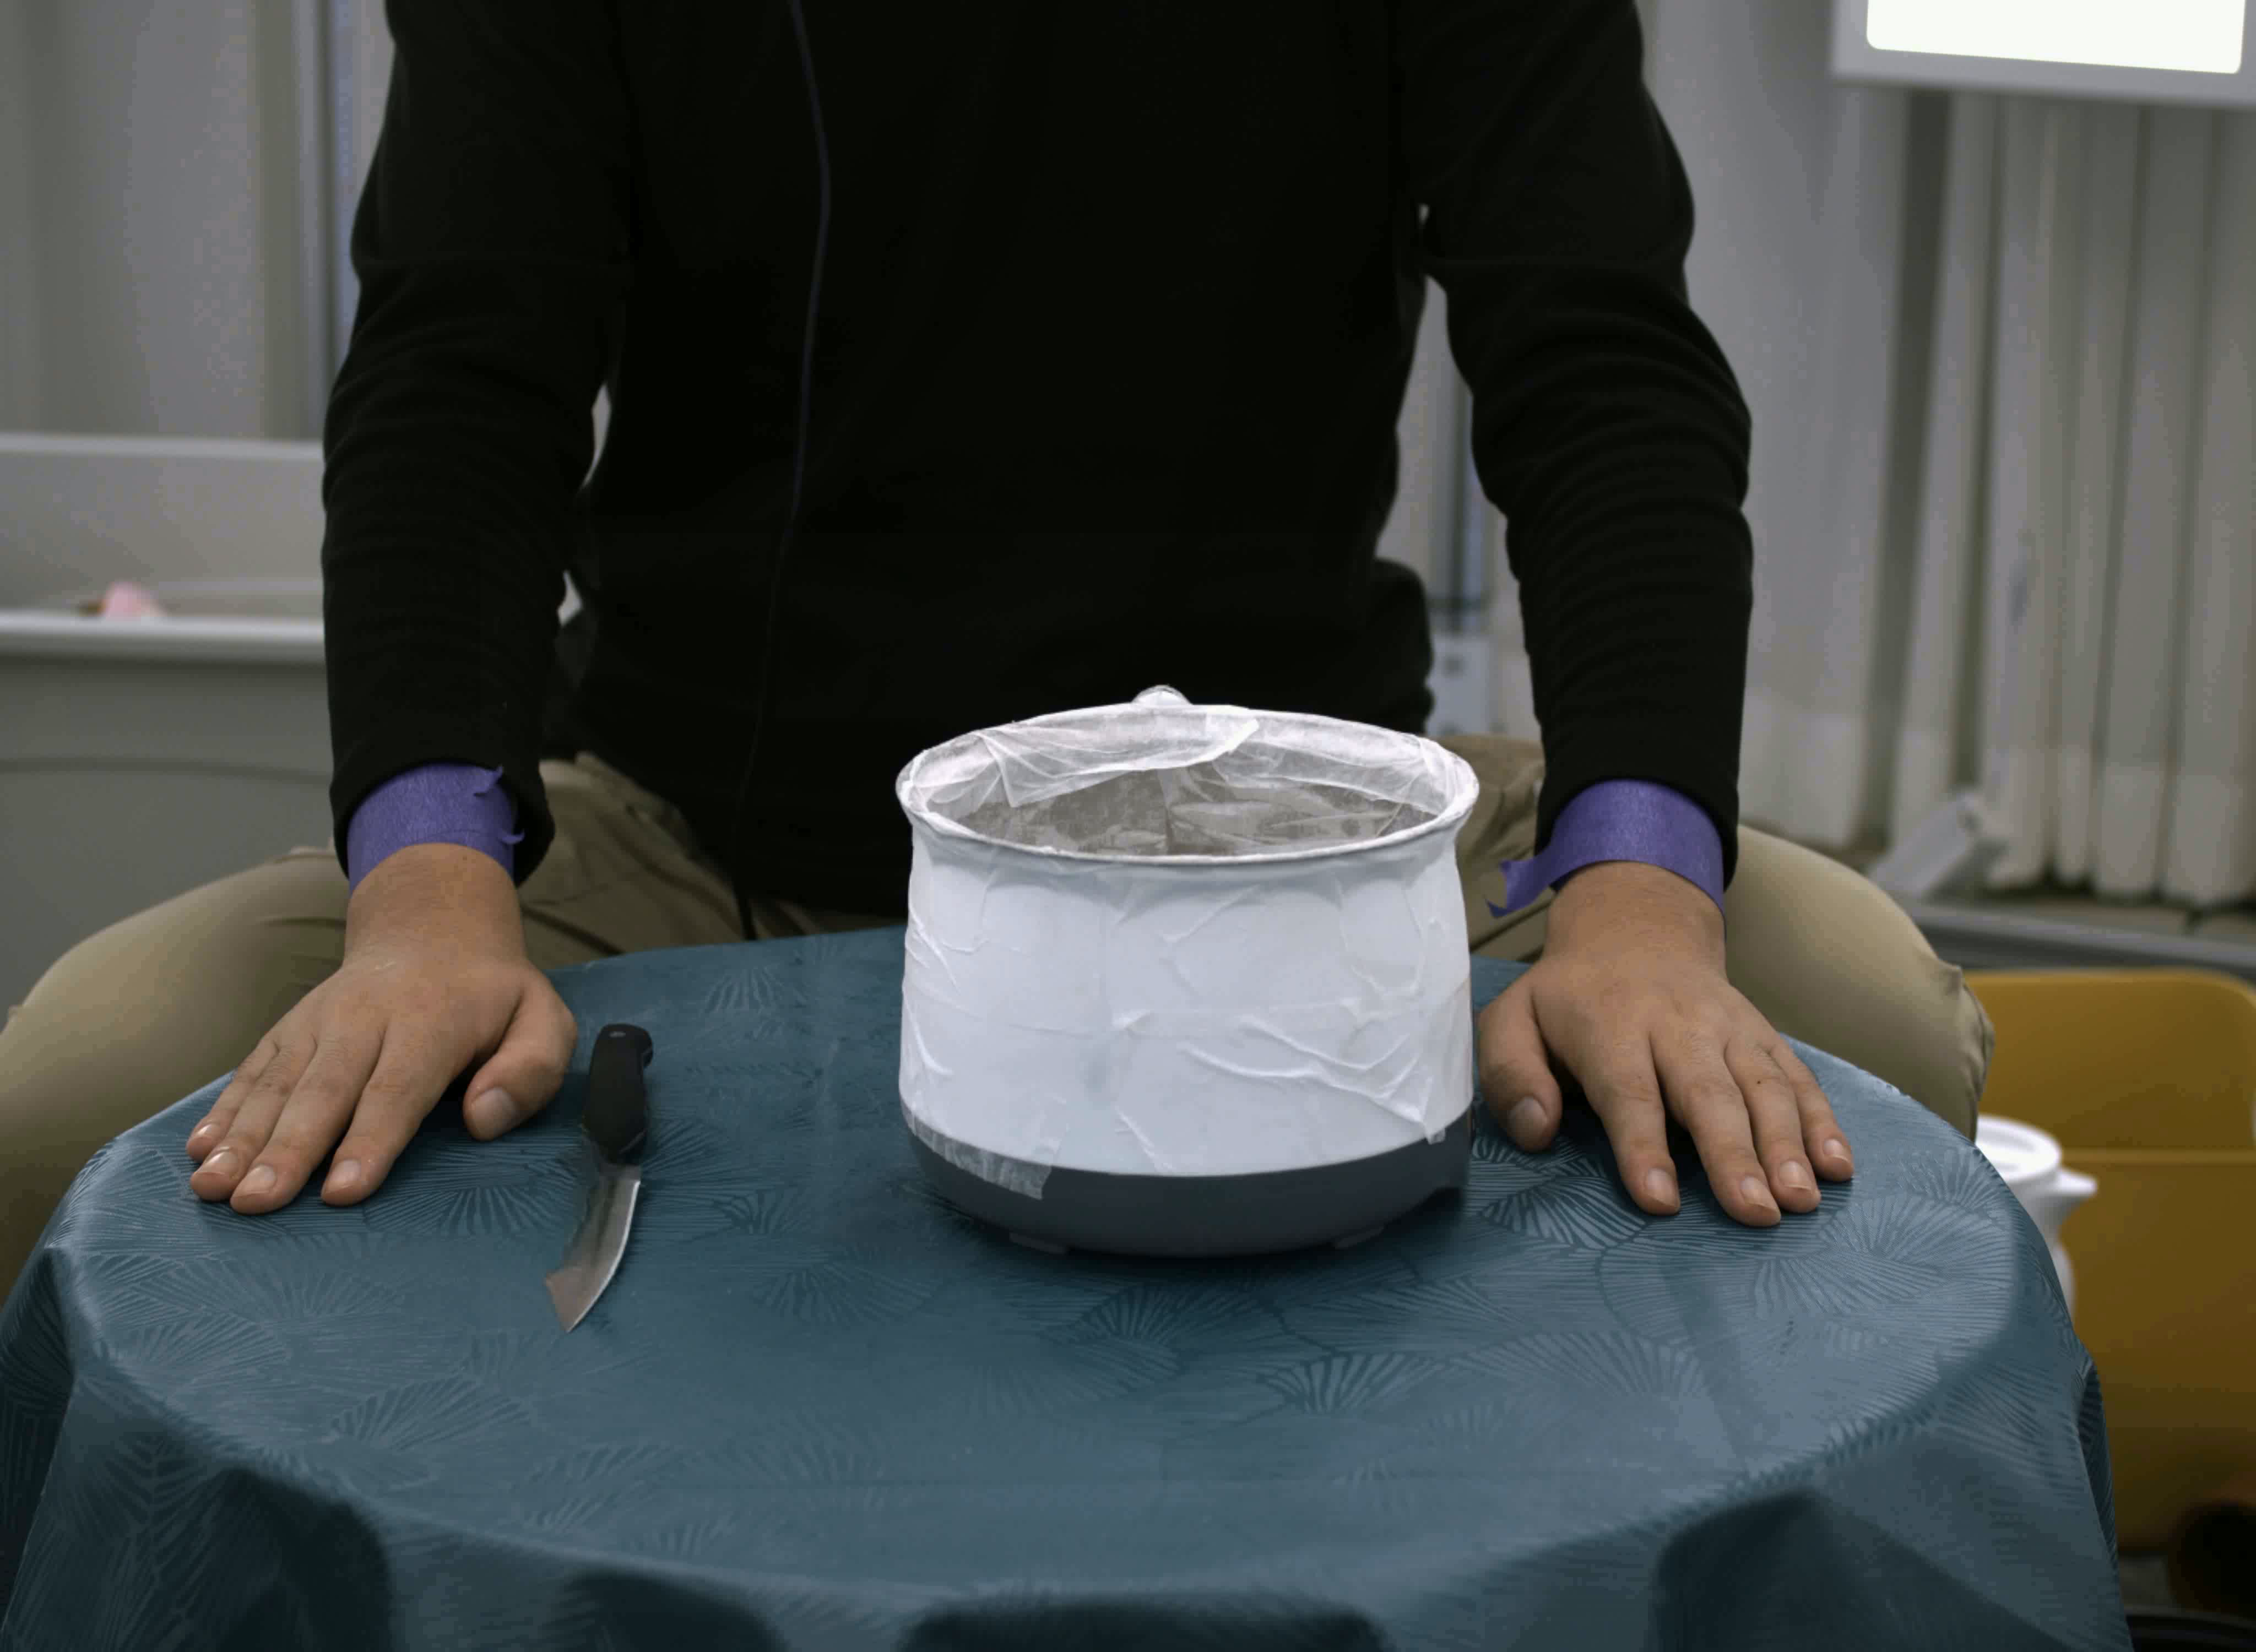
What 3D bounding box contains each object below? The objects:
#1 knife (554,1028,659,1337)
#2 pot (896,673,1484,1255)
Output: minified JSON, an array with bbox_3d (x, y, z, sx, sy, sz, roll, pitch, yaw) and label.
[{"bbox_3d":[-0.161,0.108,1.612,0.024,0.016,0.236,1,18,-2],"label":"knife"},{"bbox_3d":[0.015,0.037,1.628,0.178,0.138,0.232,0,17,-6],"label":"pot"}]
